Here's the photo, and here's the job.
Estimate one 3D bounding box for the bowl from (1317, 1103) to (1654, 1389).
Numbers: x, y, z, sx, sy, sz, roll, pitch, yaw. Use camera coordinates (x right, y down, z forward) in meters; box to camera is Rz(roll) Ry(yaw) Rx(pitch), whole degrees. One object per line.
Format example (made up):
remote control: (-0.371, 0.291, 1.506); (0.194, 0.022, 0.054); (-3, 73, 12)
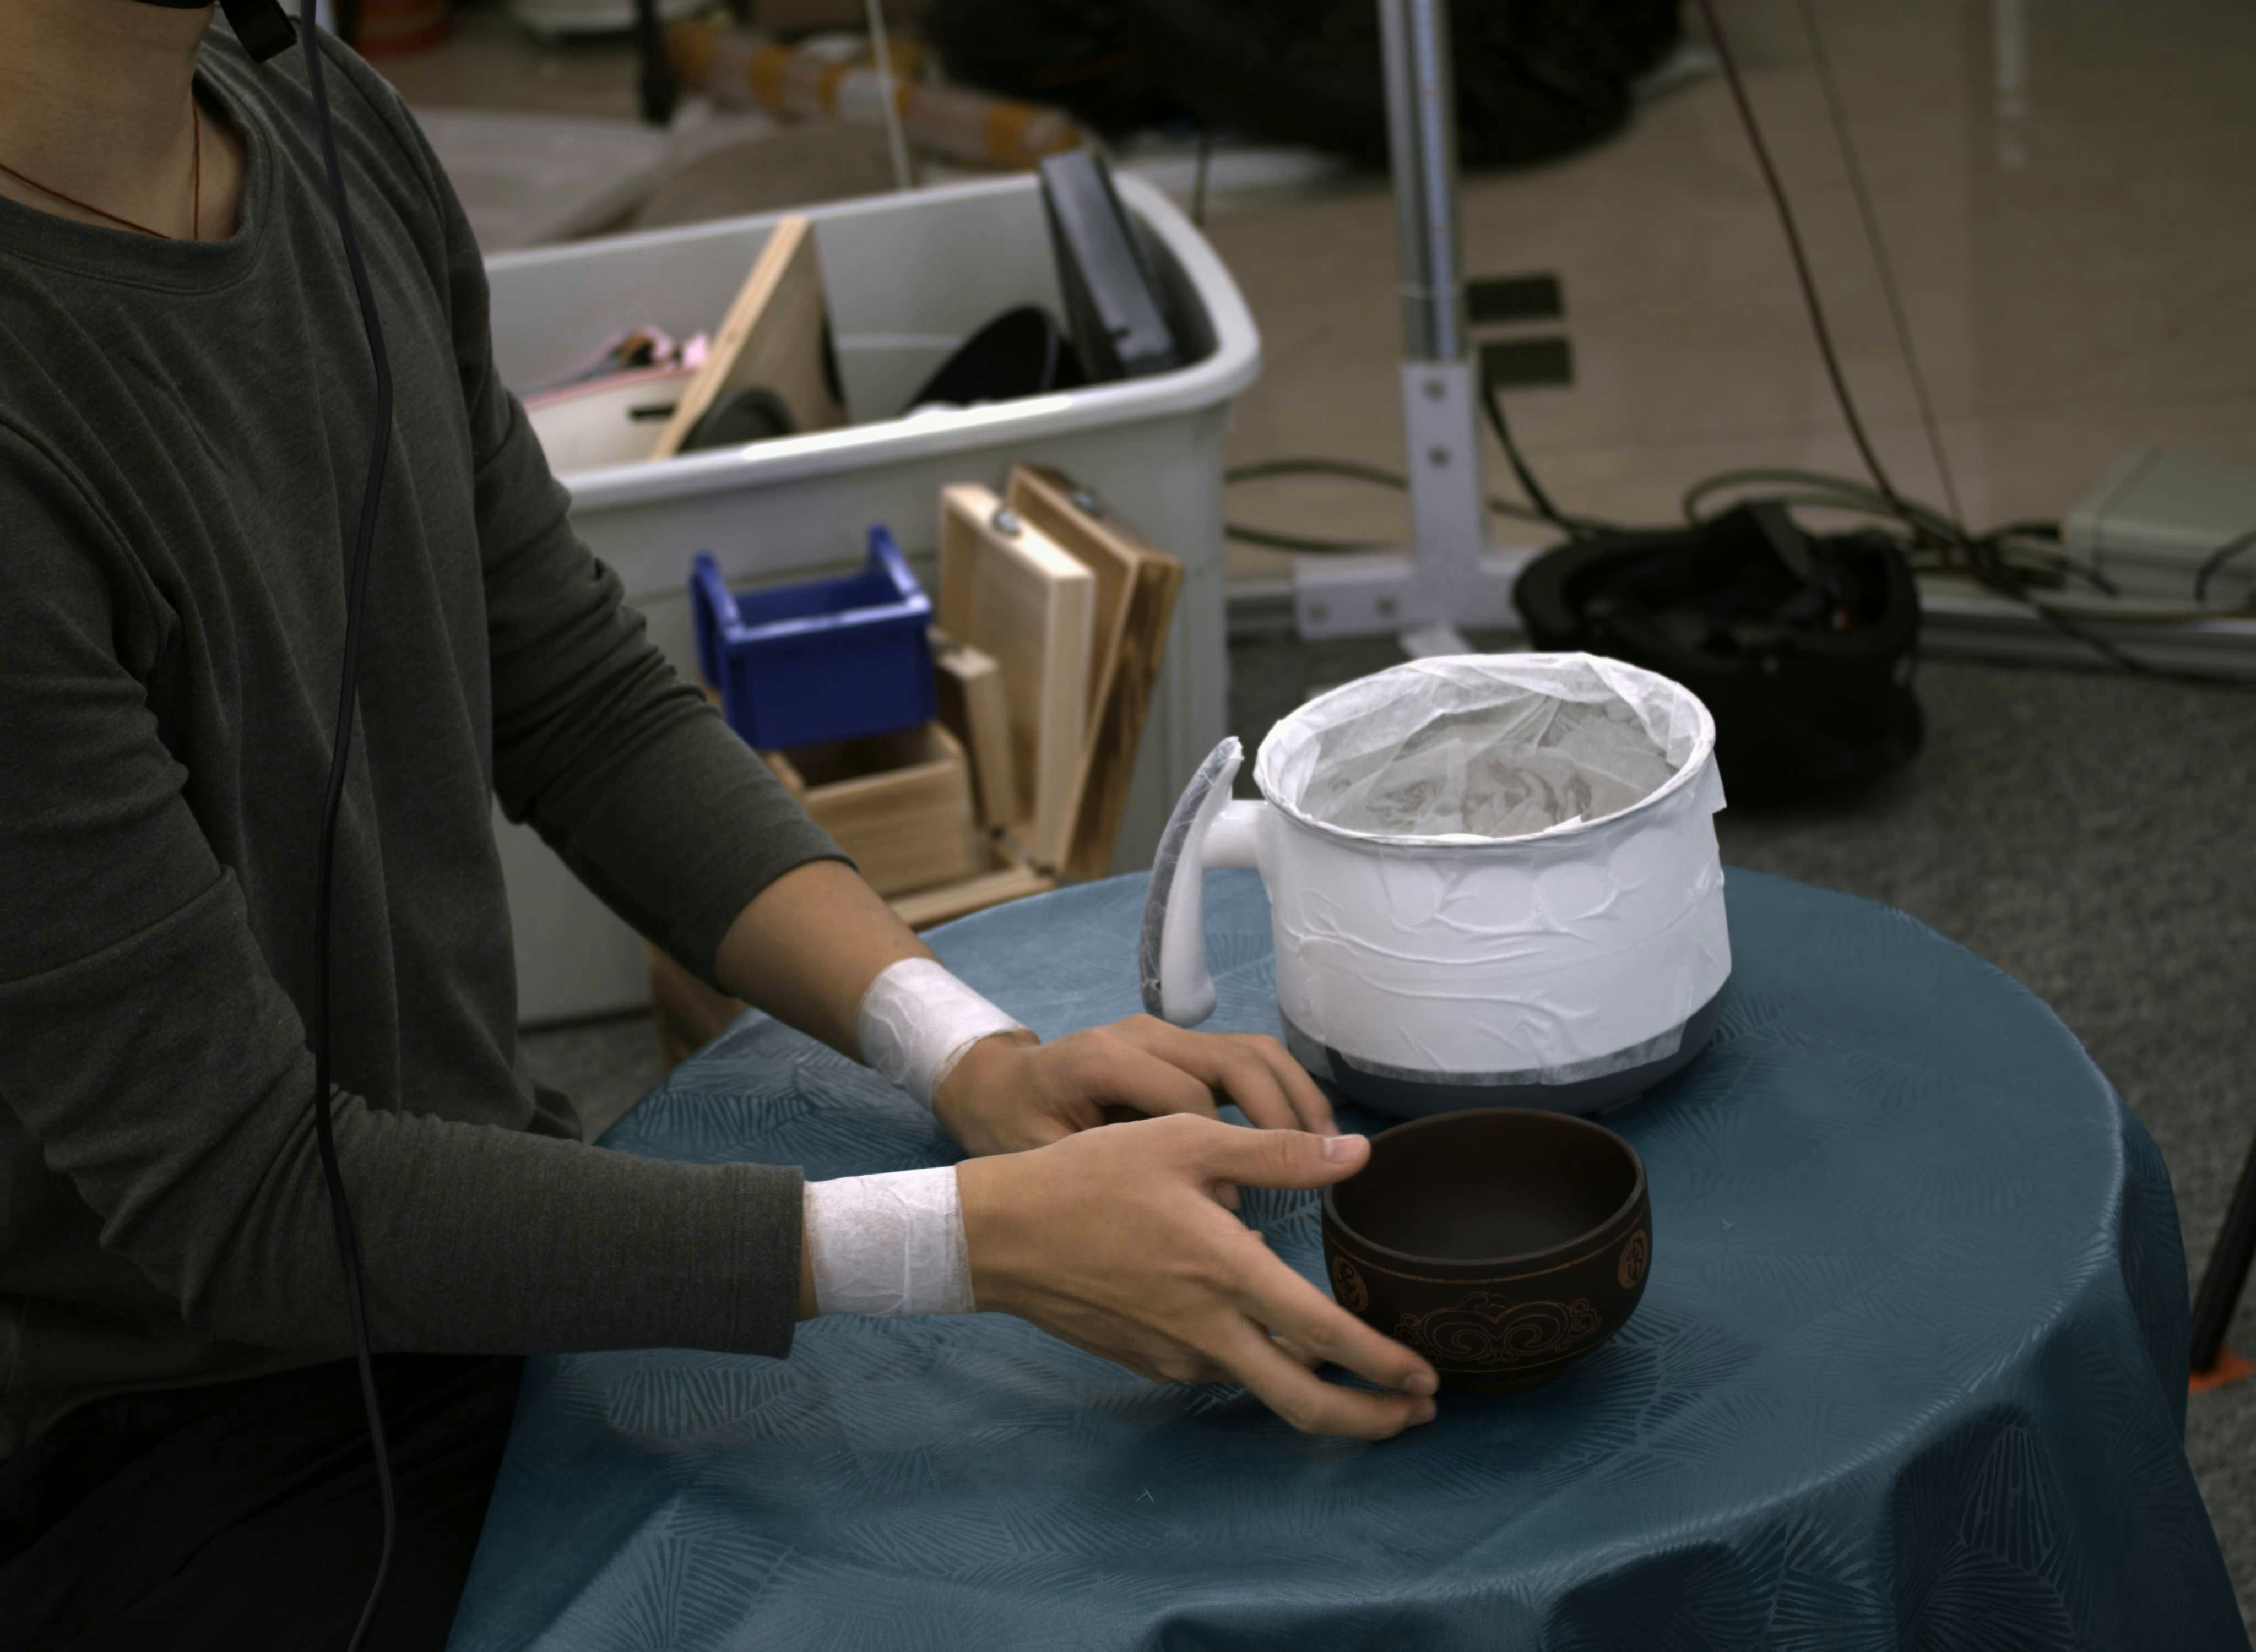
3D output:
bowl: (0.128, 0.155, 2.000); (0.118, 0.071, 0.116); (-7, 25, 4)

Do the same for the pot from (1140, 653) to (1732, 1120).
pot: (0.116, 0.027, 2.199); (0.233, 0.139, 0.176); (-1, 25, 11)
